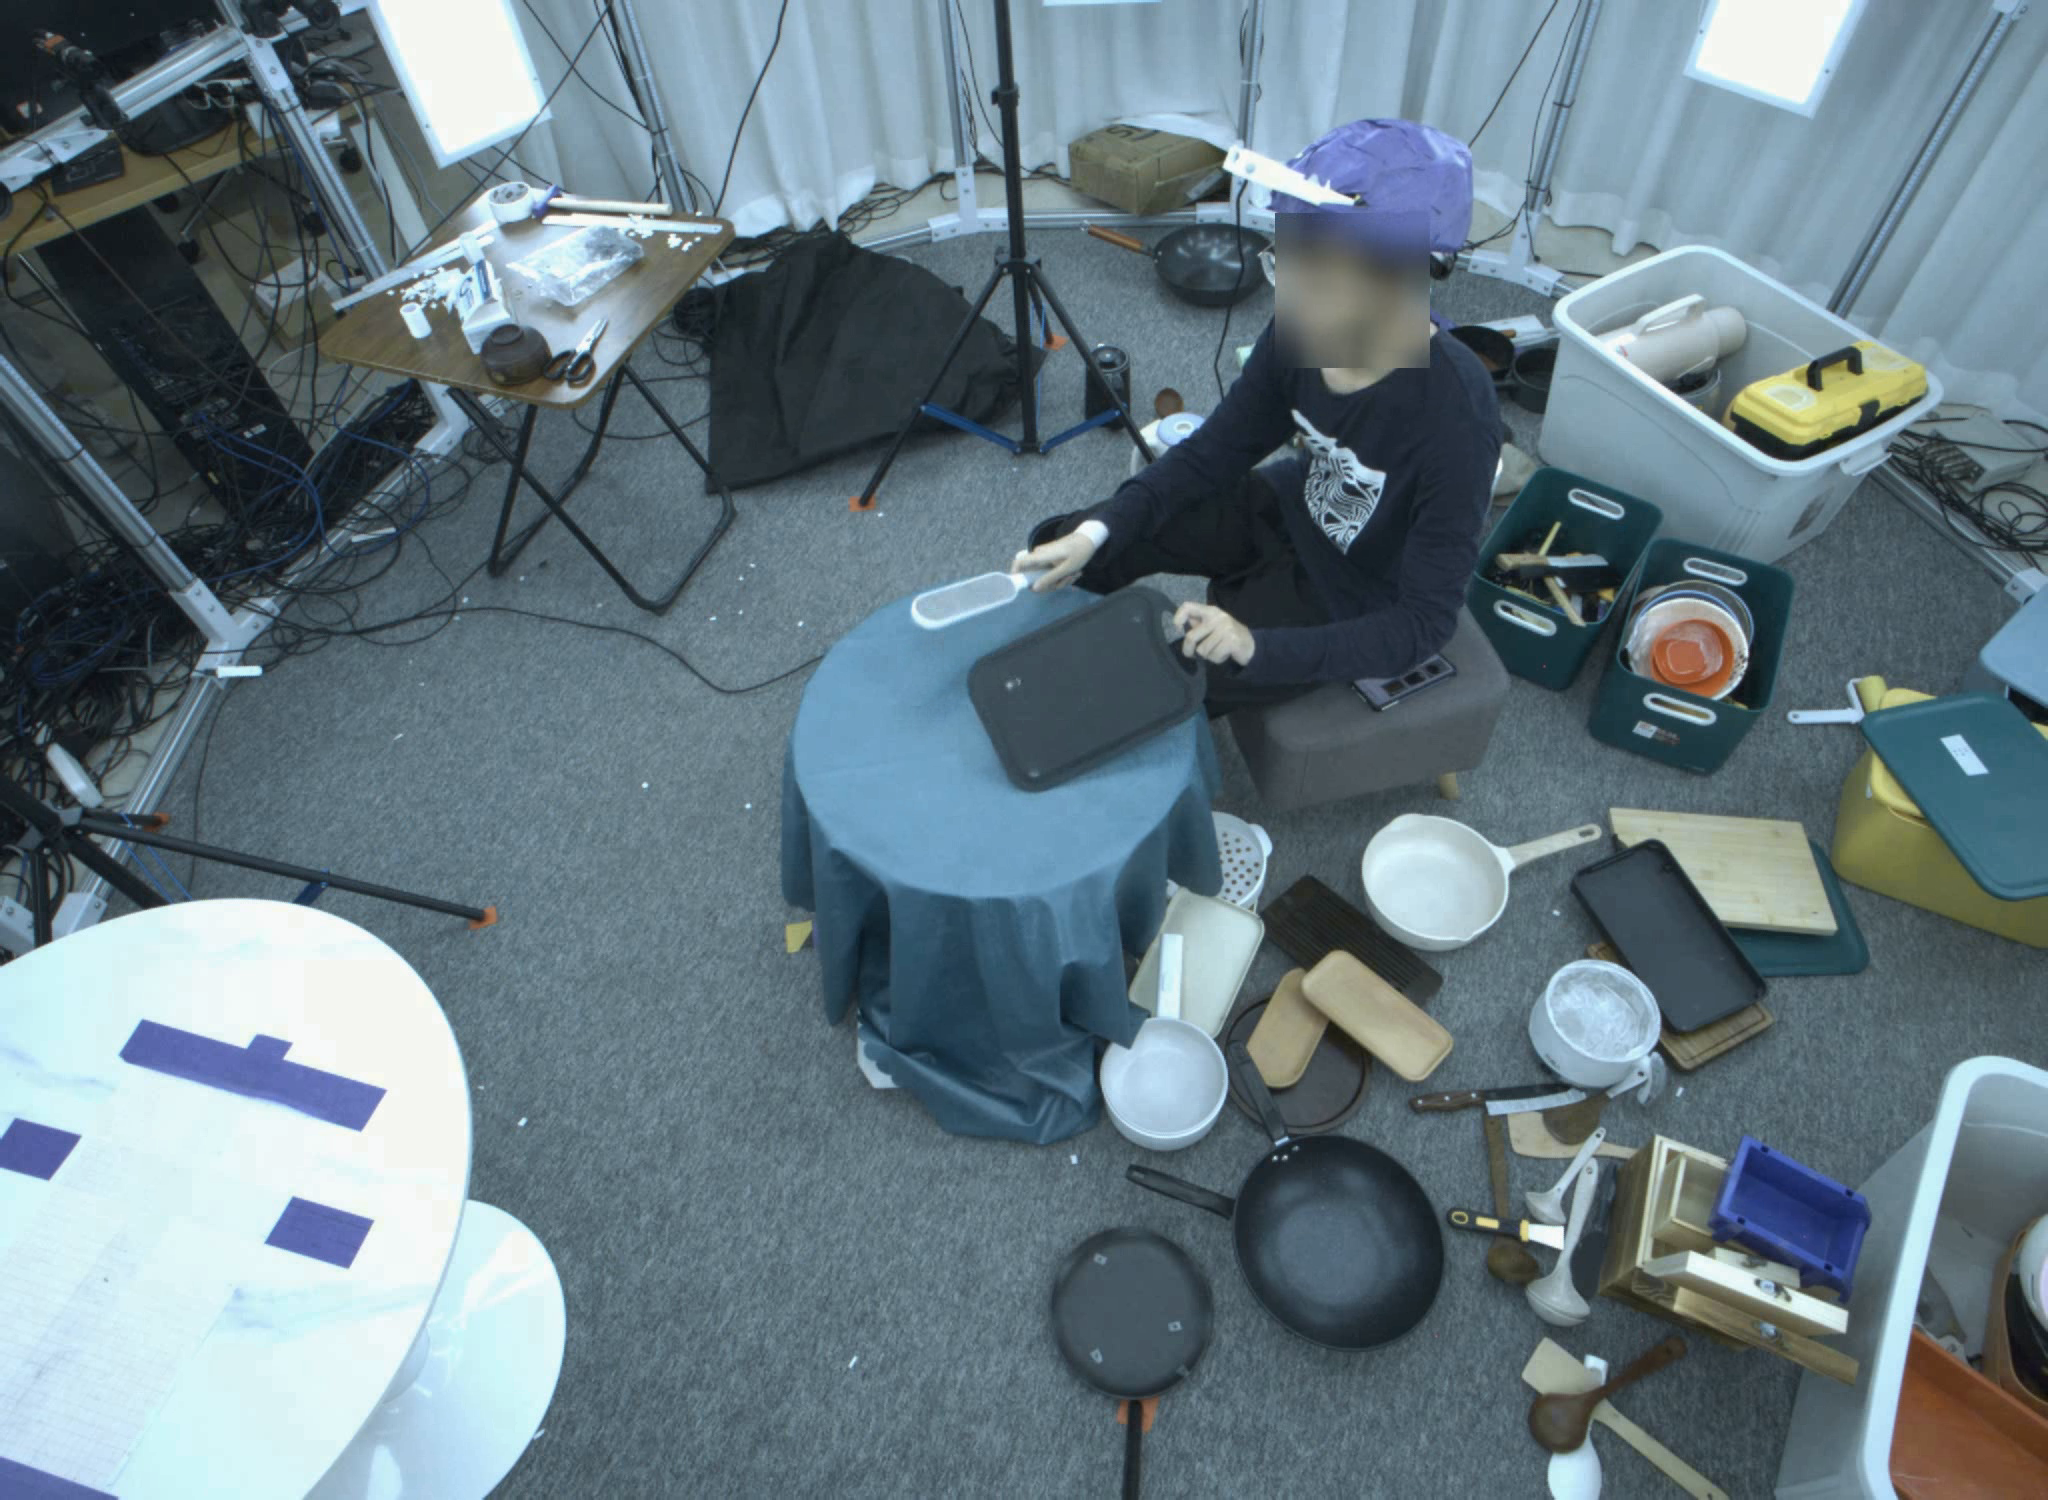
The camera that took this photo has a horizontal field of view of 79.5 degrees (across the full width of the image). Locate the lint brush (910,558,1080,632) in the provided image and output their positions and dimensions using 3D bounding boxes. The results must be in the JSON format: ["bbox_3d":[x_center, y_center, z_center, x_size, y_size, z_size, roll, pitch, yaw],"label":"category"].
[{"bbox_3d":[-0.038,-0.240,1.860,0.313,0.021,0.059,-23,72,-31],"label":"lint brush"}]

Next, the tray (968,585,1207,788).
[{"bbox_3d":[0.097,-0.094,1.742,0.326,0.010,0.212,-25,98,-1],"label":"tray"}]
